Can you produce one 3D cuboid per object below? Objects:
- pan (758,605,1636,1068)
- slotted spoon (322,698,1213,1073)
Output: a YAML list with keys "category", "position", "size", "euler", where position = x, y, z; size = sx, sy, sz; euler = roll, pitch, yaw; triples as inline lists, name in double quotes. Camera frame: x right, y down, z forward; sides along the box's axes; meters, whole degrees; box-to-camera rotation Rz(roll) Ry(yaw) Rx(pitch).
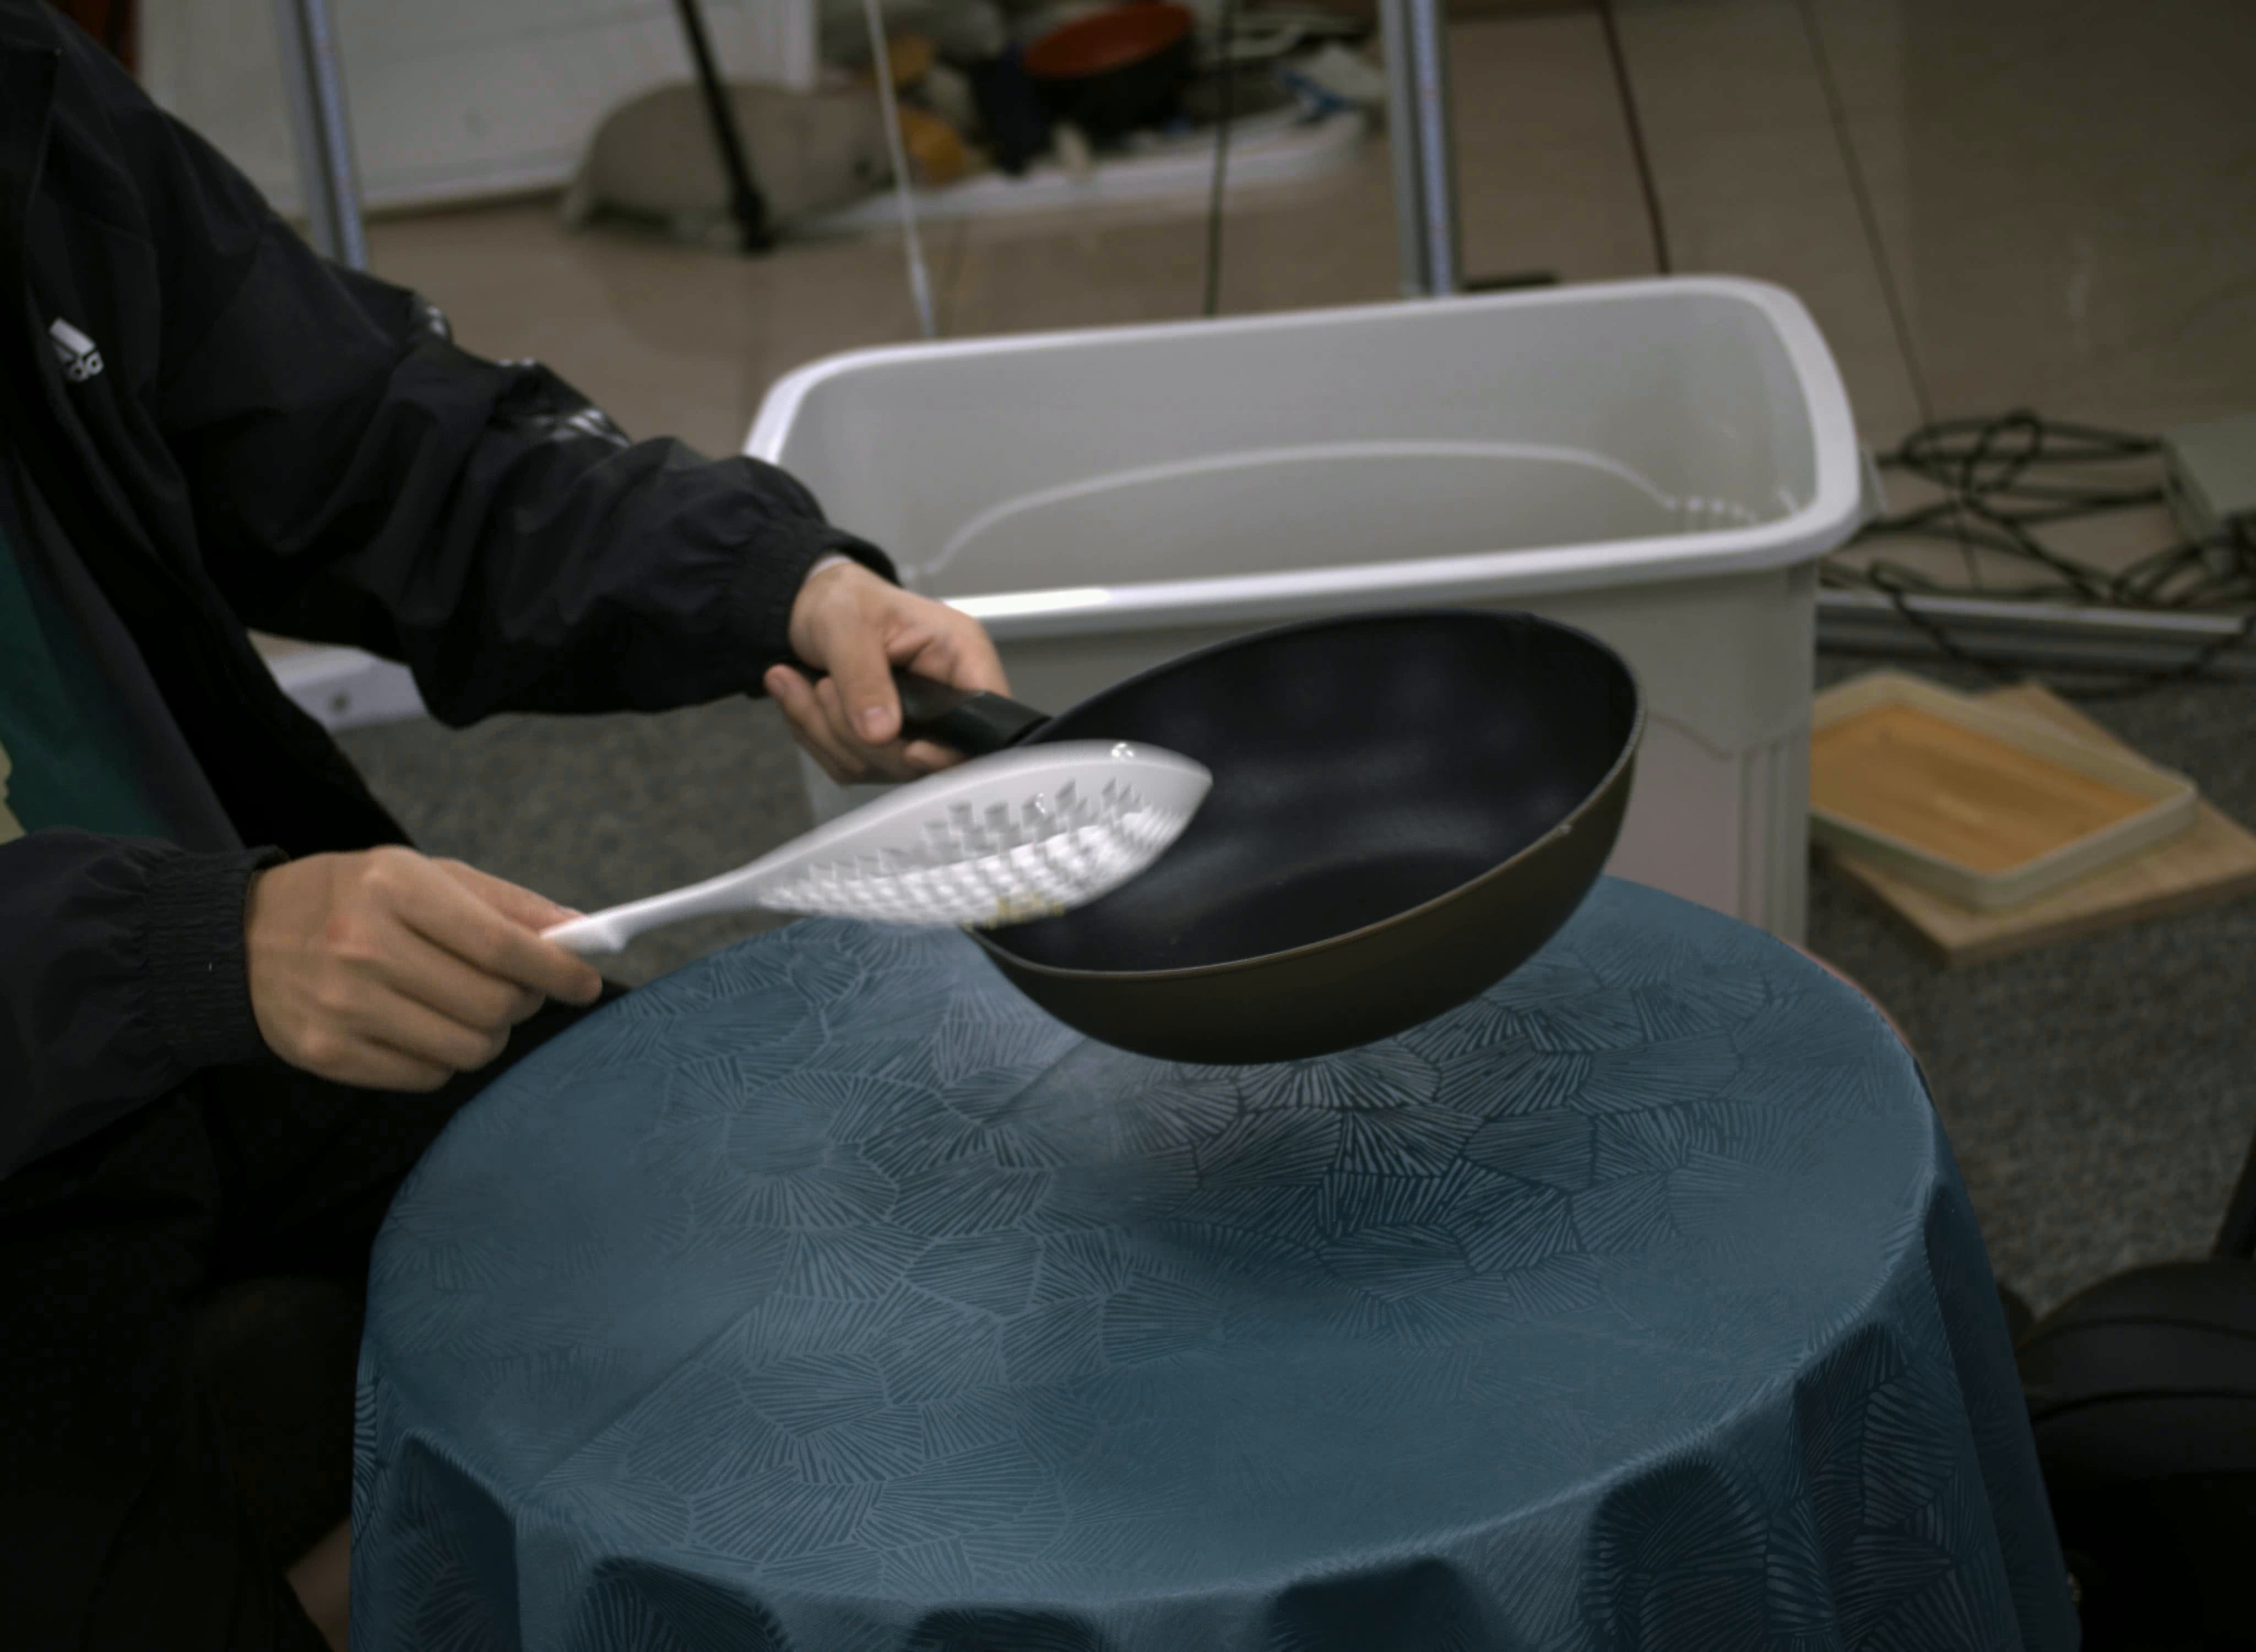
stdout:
- category: "pan"
  position: [0.006, 0.001, 2.246]
  size: [0.285, 0.088, 0.460]
  euler: [-35, 31, -32]
- category: "slotted spoon"
  position: [-0.133, 0.026, 2.017]
  size: [0.348, 0.050, 0.137]
  euler: [-14, -15, 19]
